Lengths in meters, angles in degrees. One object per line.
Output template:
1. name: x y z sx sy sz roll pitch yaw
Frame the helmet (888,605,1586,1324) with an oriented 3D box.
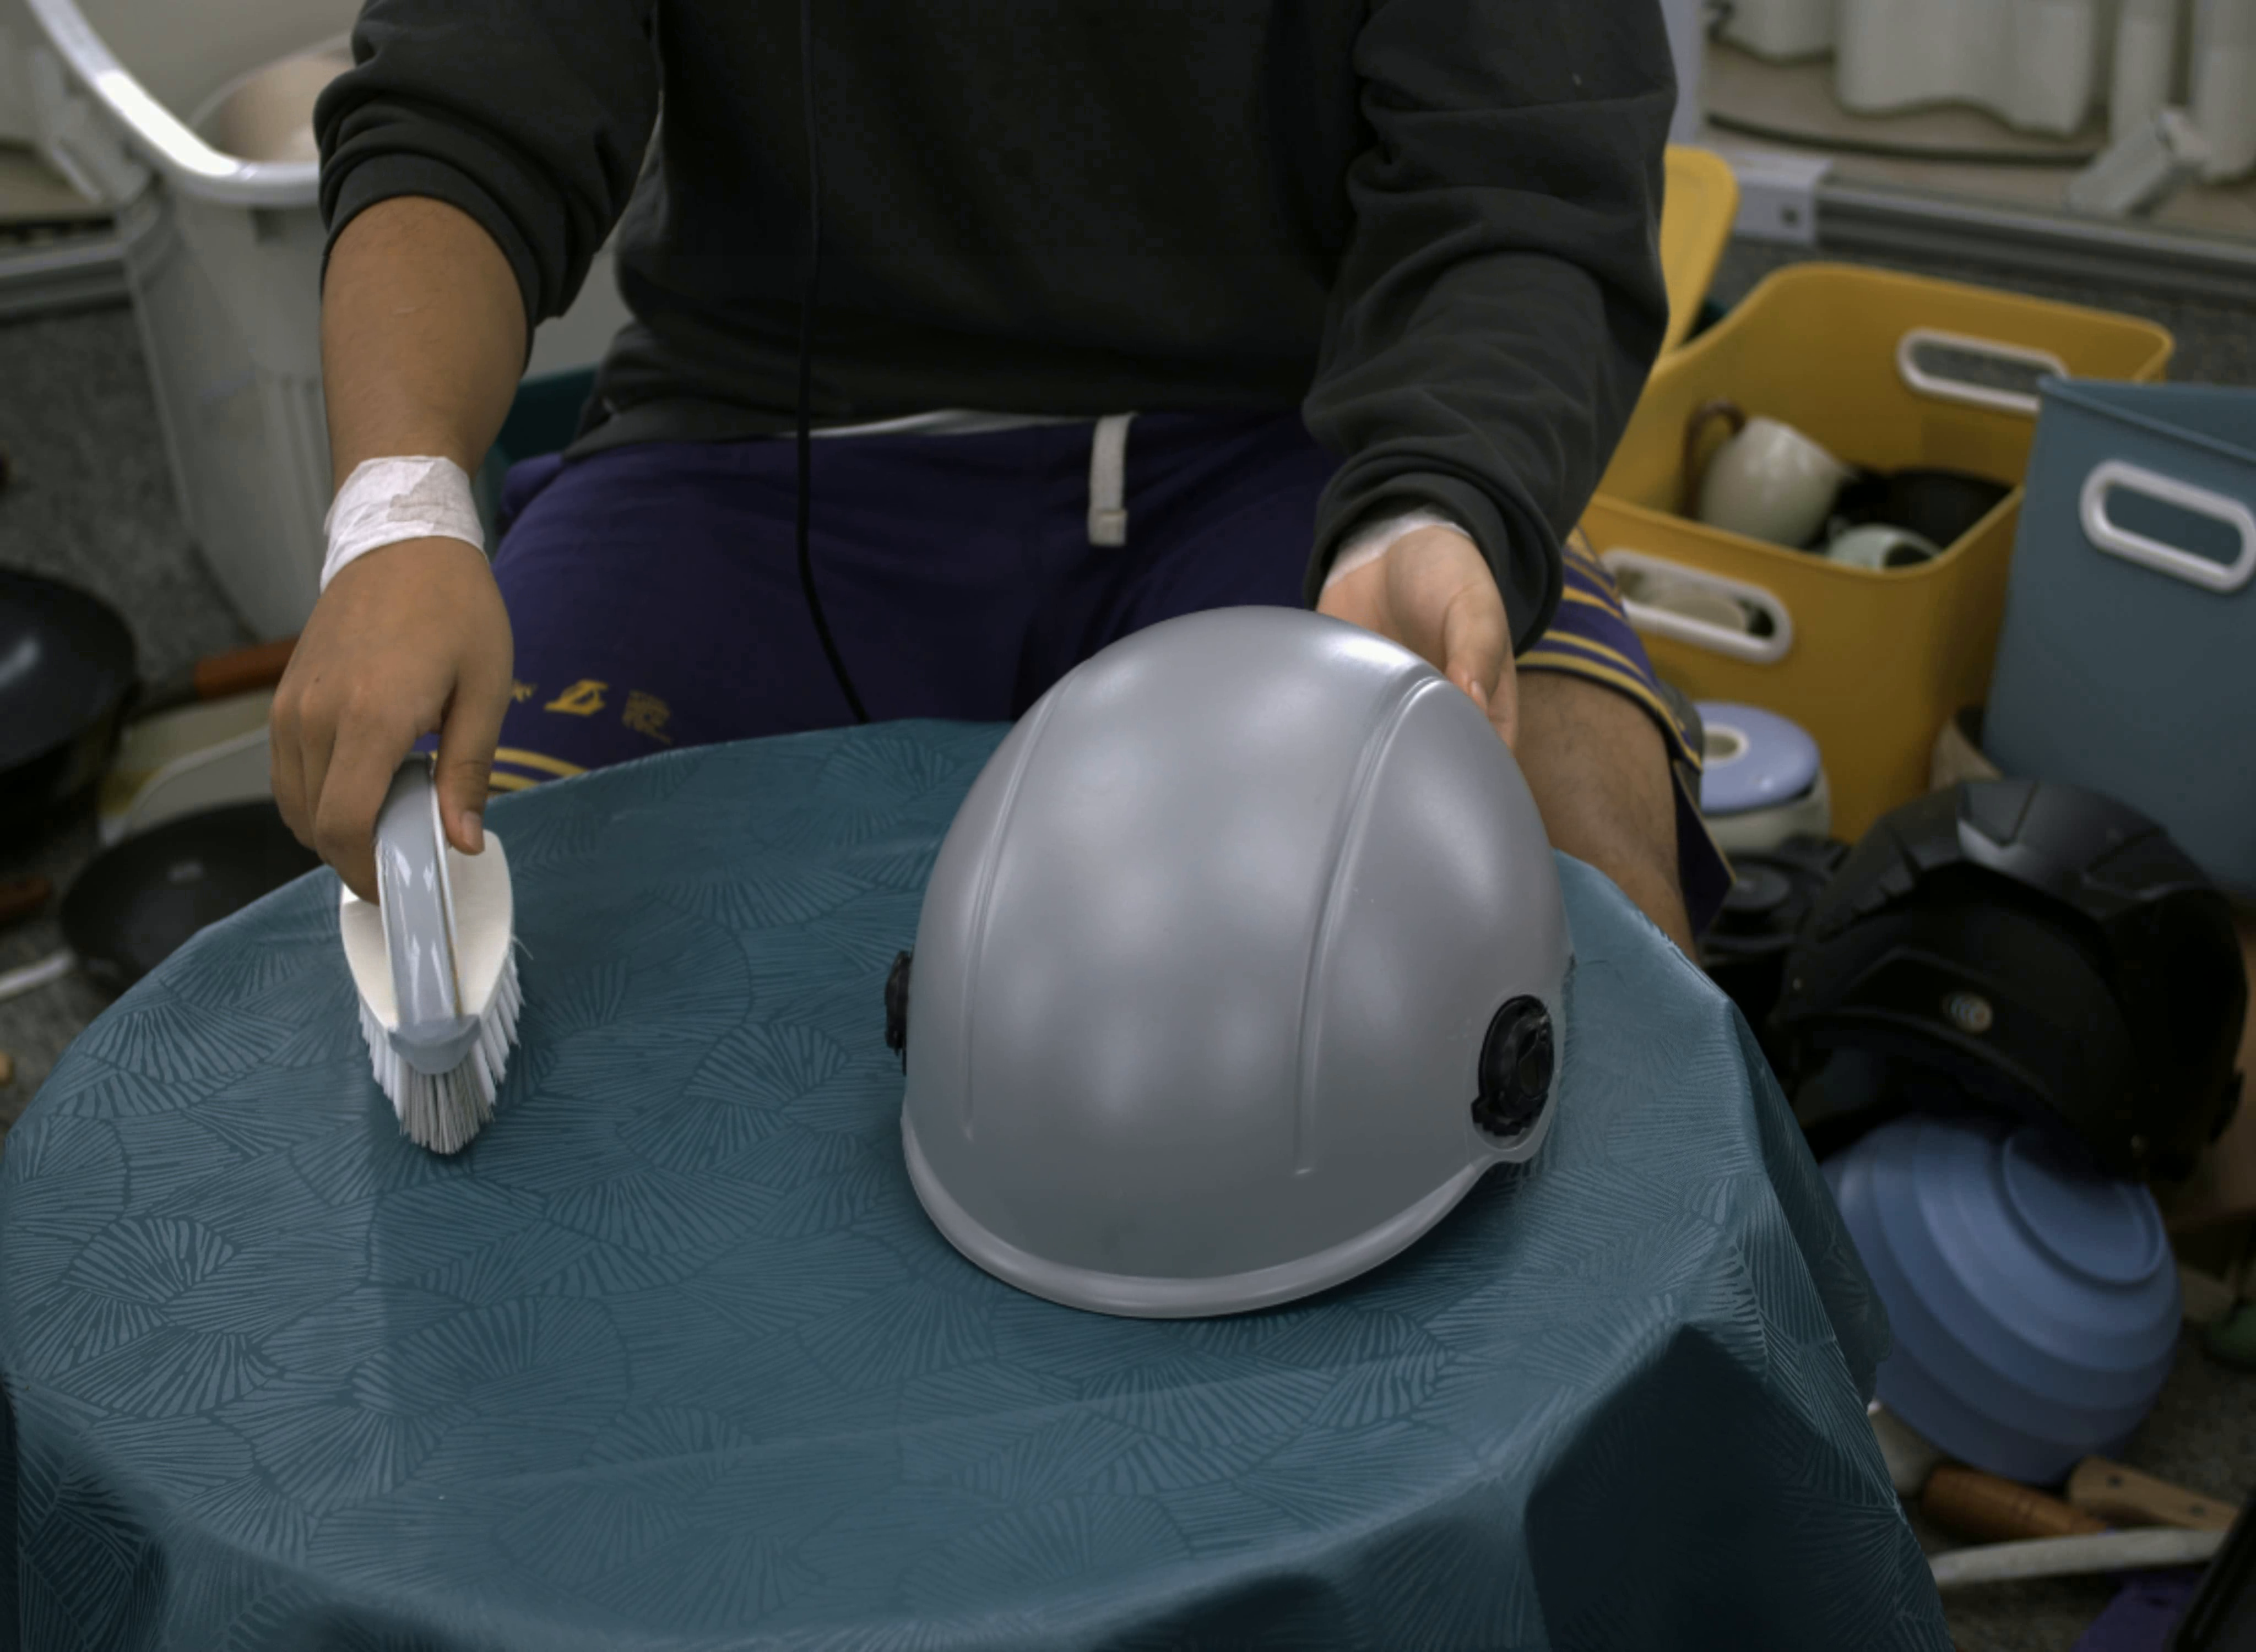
1. helmet: 0.034 0.024 1.872 0.230 0.167 0.281 4 30 18

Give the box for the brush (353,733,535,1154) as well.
1. brush: -0.241 0.033 1.956 0.061 0.093 0.178 -8 31 -2
